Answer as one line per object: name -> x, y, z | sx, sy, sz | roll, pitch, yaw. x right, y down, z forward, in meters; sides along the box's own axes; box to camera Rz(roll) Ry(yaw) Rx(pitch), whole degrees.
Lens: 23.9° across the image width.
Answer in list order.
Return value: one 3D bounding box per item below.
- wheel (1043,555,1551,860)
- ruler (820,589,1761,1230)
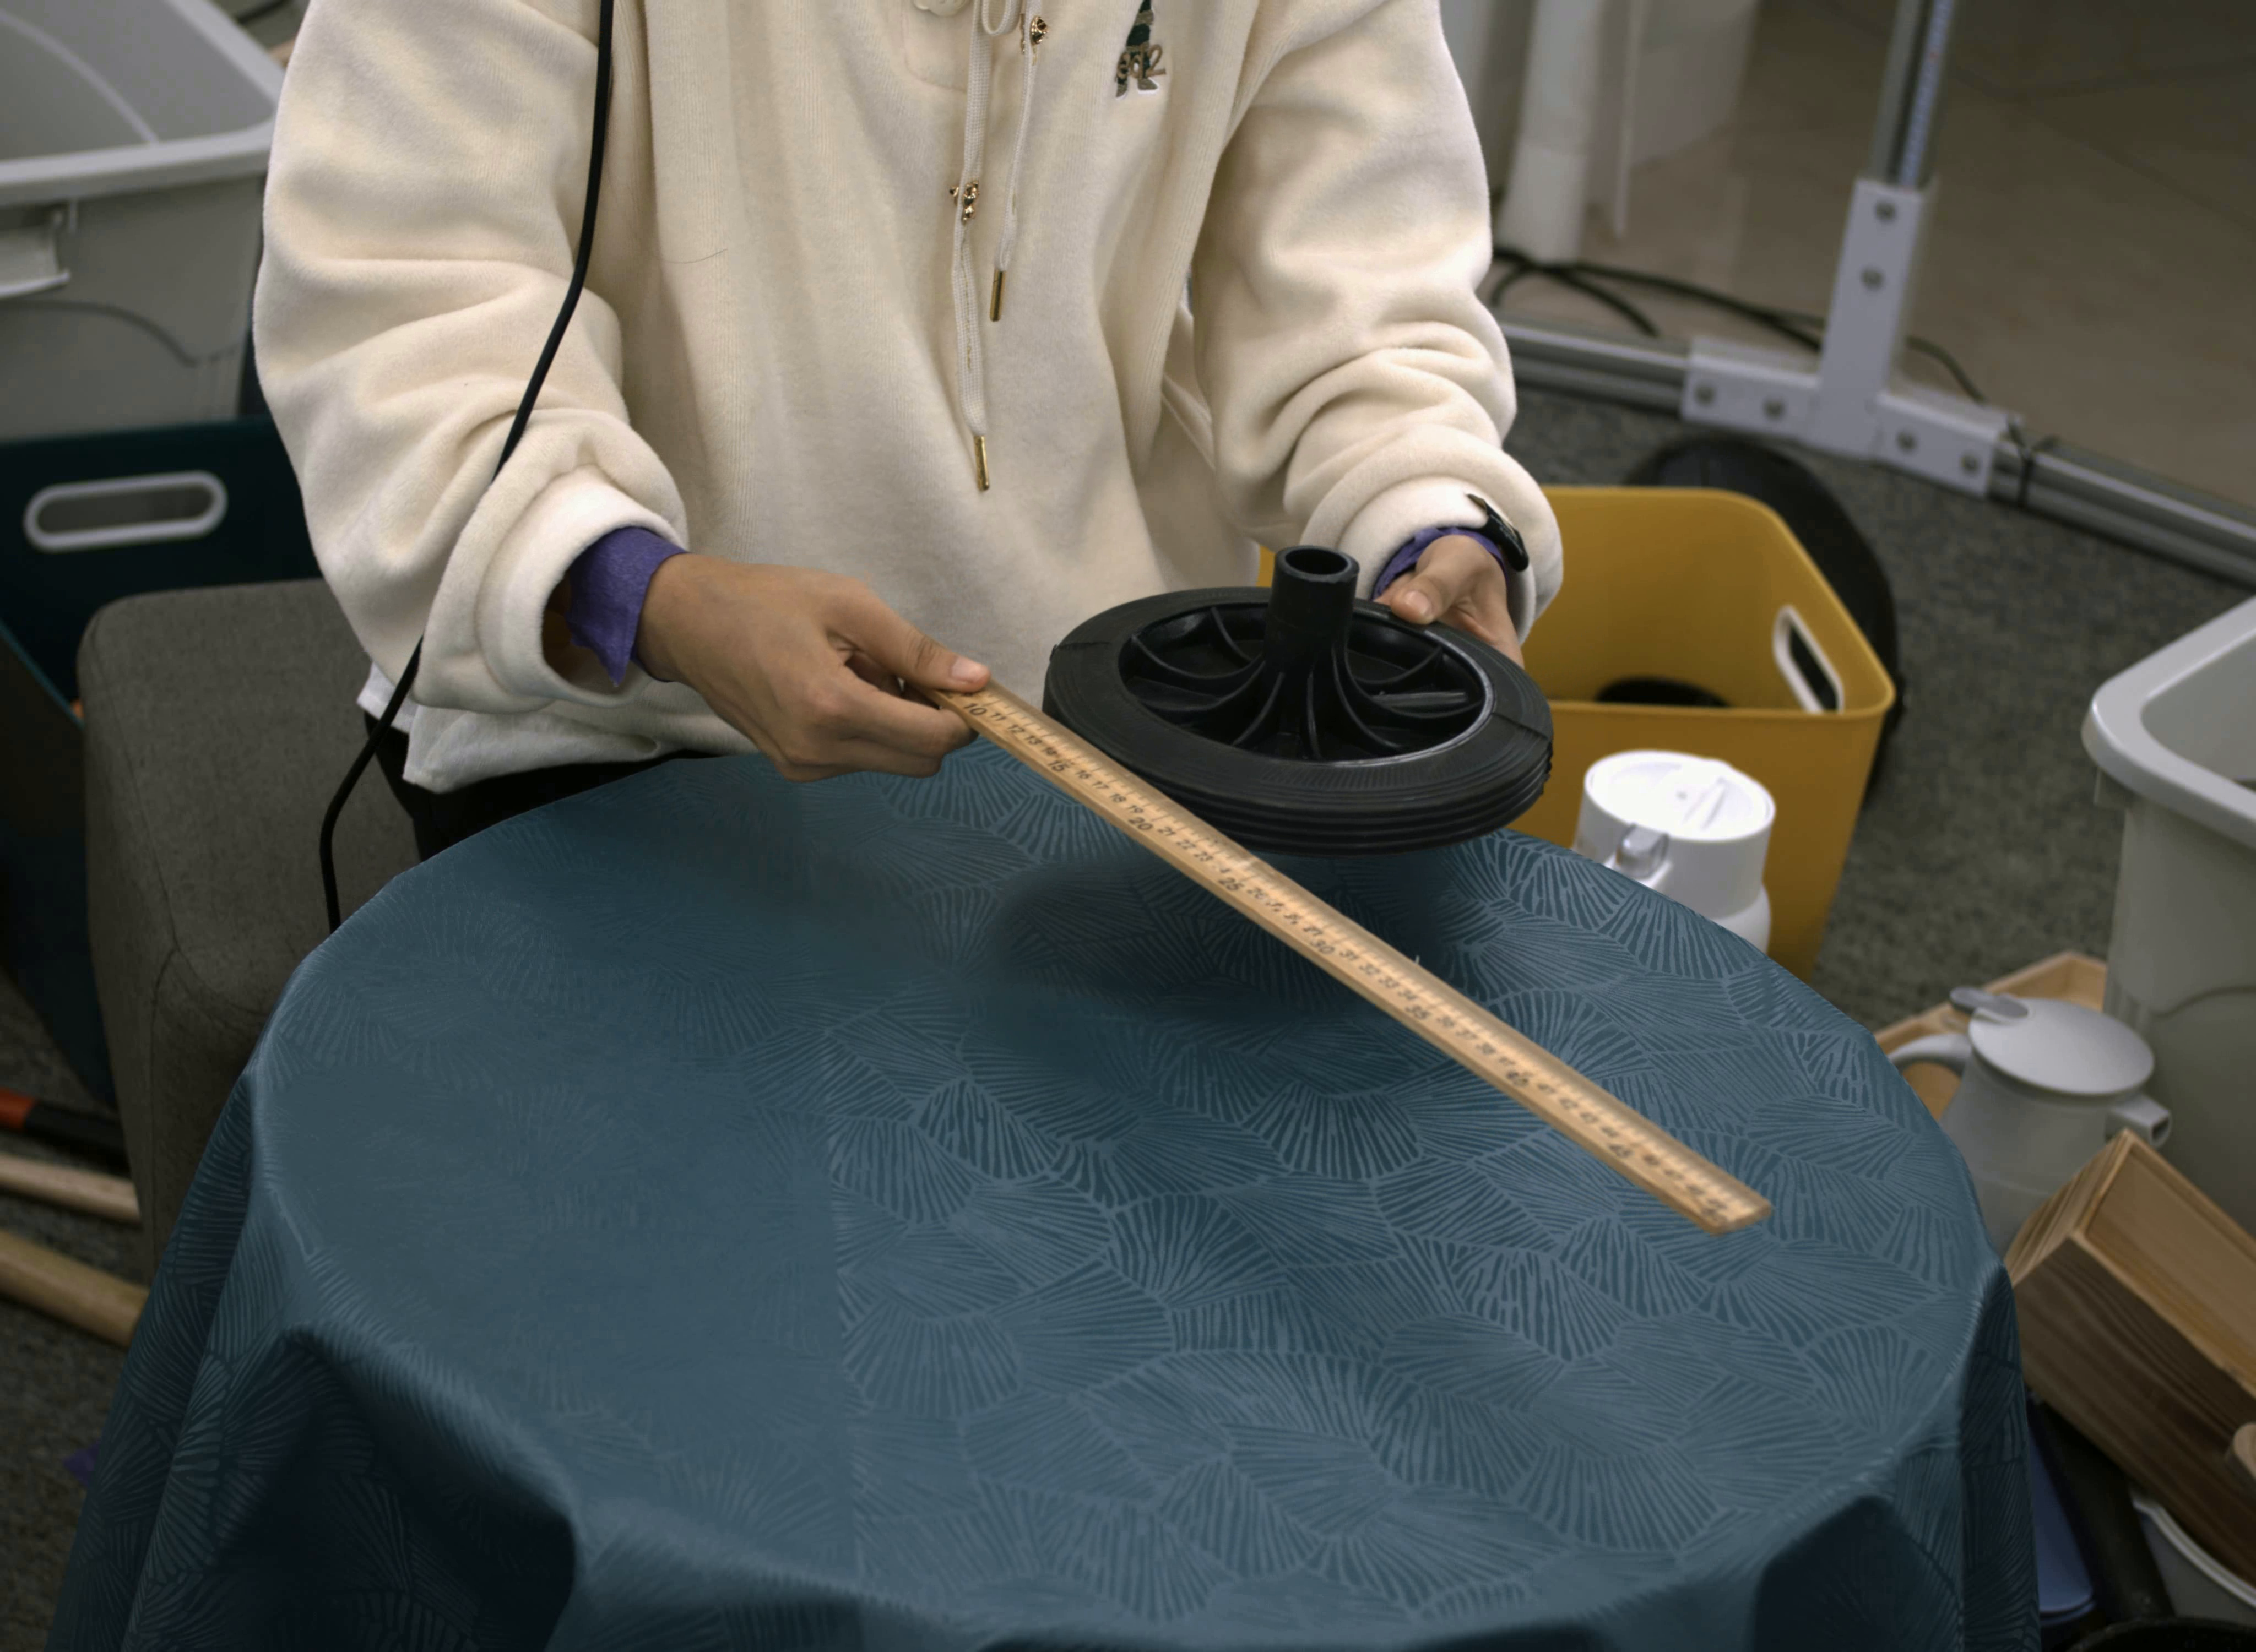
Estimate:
wheel -> 0.065, -0.057, 1.943 | 0.189, 0.079, 0.189 | -16, 34, -38
ruler -> 0.040, 0.018, 1.816 | 0.026, 0.006, 0.505 | -17, 34, -32
